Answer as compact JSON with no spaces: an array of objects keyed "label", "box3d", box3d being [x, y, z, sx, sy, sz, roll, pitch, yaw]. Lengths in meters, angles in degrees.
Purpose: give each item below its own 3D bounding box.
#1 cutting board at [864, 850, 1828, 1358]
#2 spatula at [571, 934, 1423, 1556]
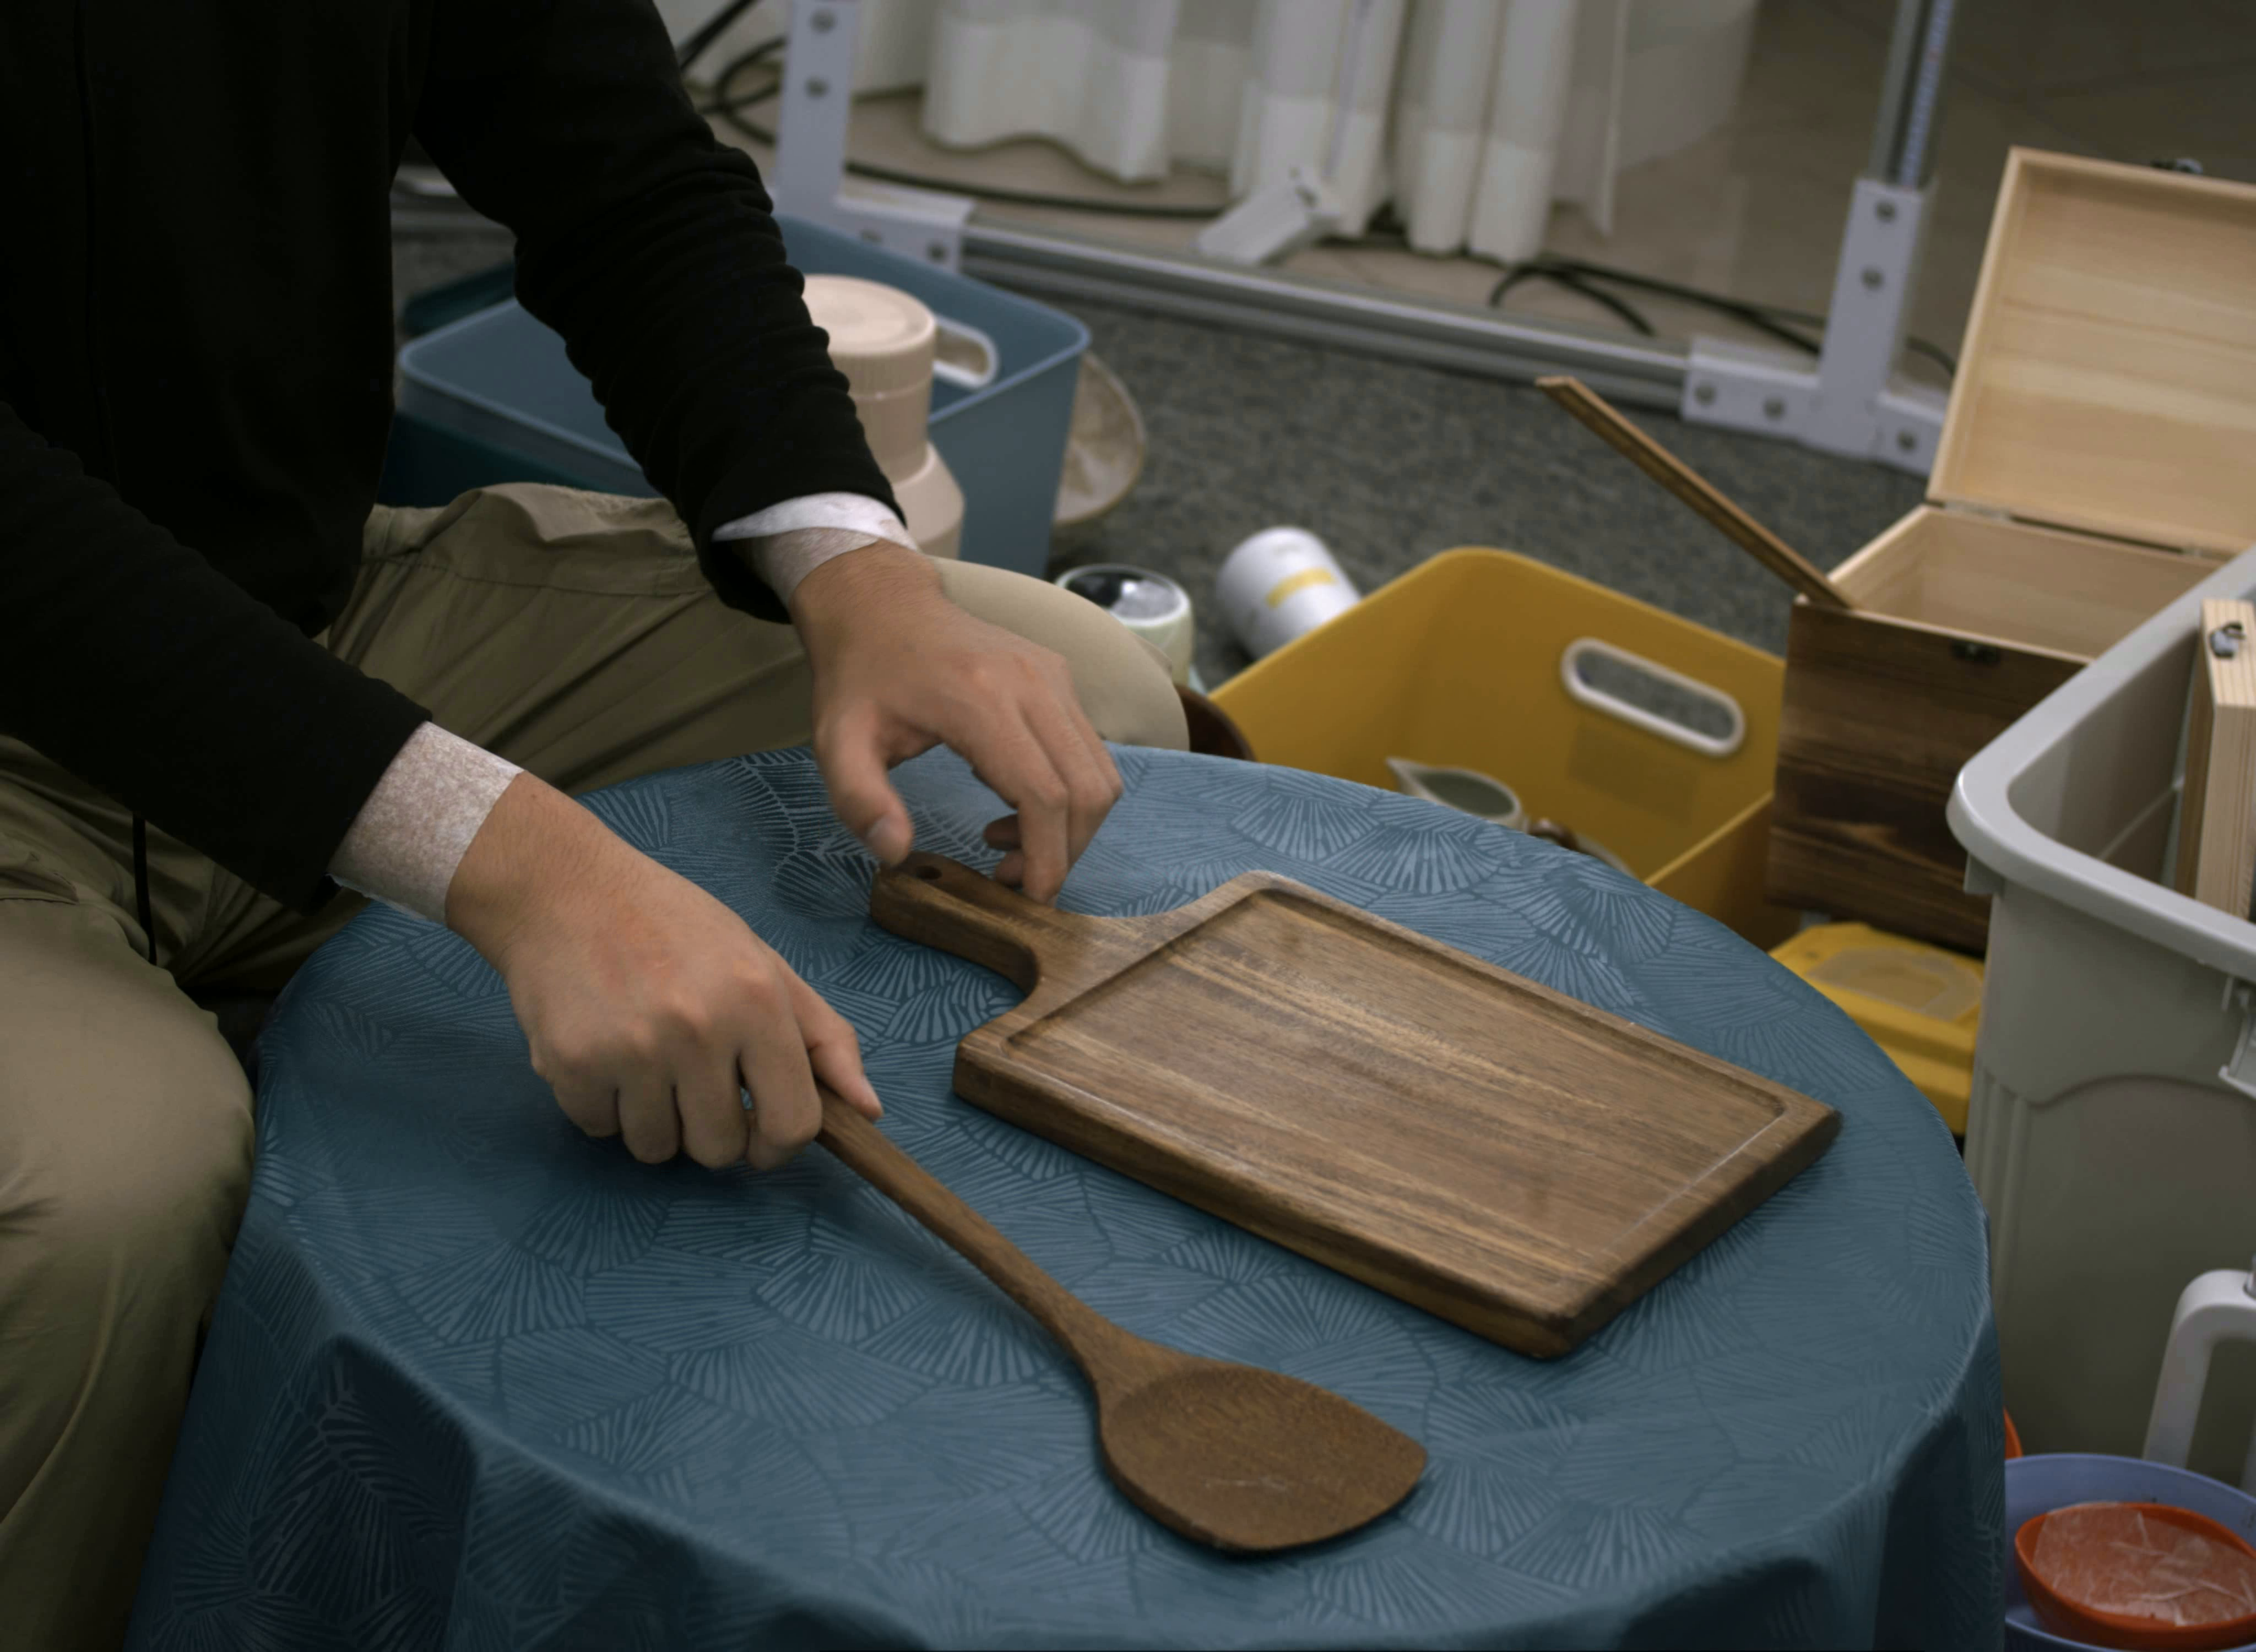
[{"label":"cutting board","box3d":[0.052,0.078,1.880,0.354,0.023,0.200,22,31,28]},{"label":"spatula","box3d":[-0.061,0.128,1.741,0.095,0.016,0.389,-18,41,-40]}]
